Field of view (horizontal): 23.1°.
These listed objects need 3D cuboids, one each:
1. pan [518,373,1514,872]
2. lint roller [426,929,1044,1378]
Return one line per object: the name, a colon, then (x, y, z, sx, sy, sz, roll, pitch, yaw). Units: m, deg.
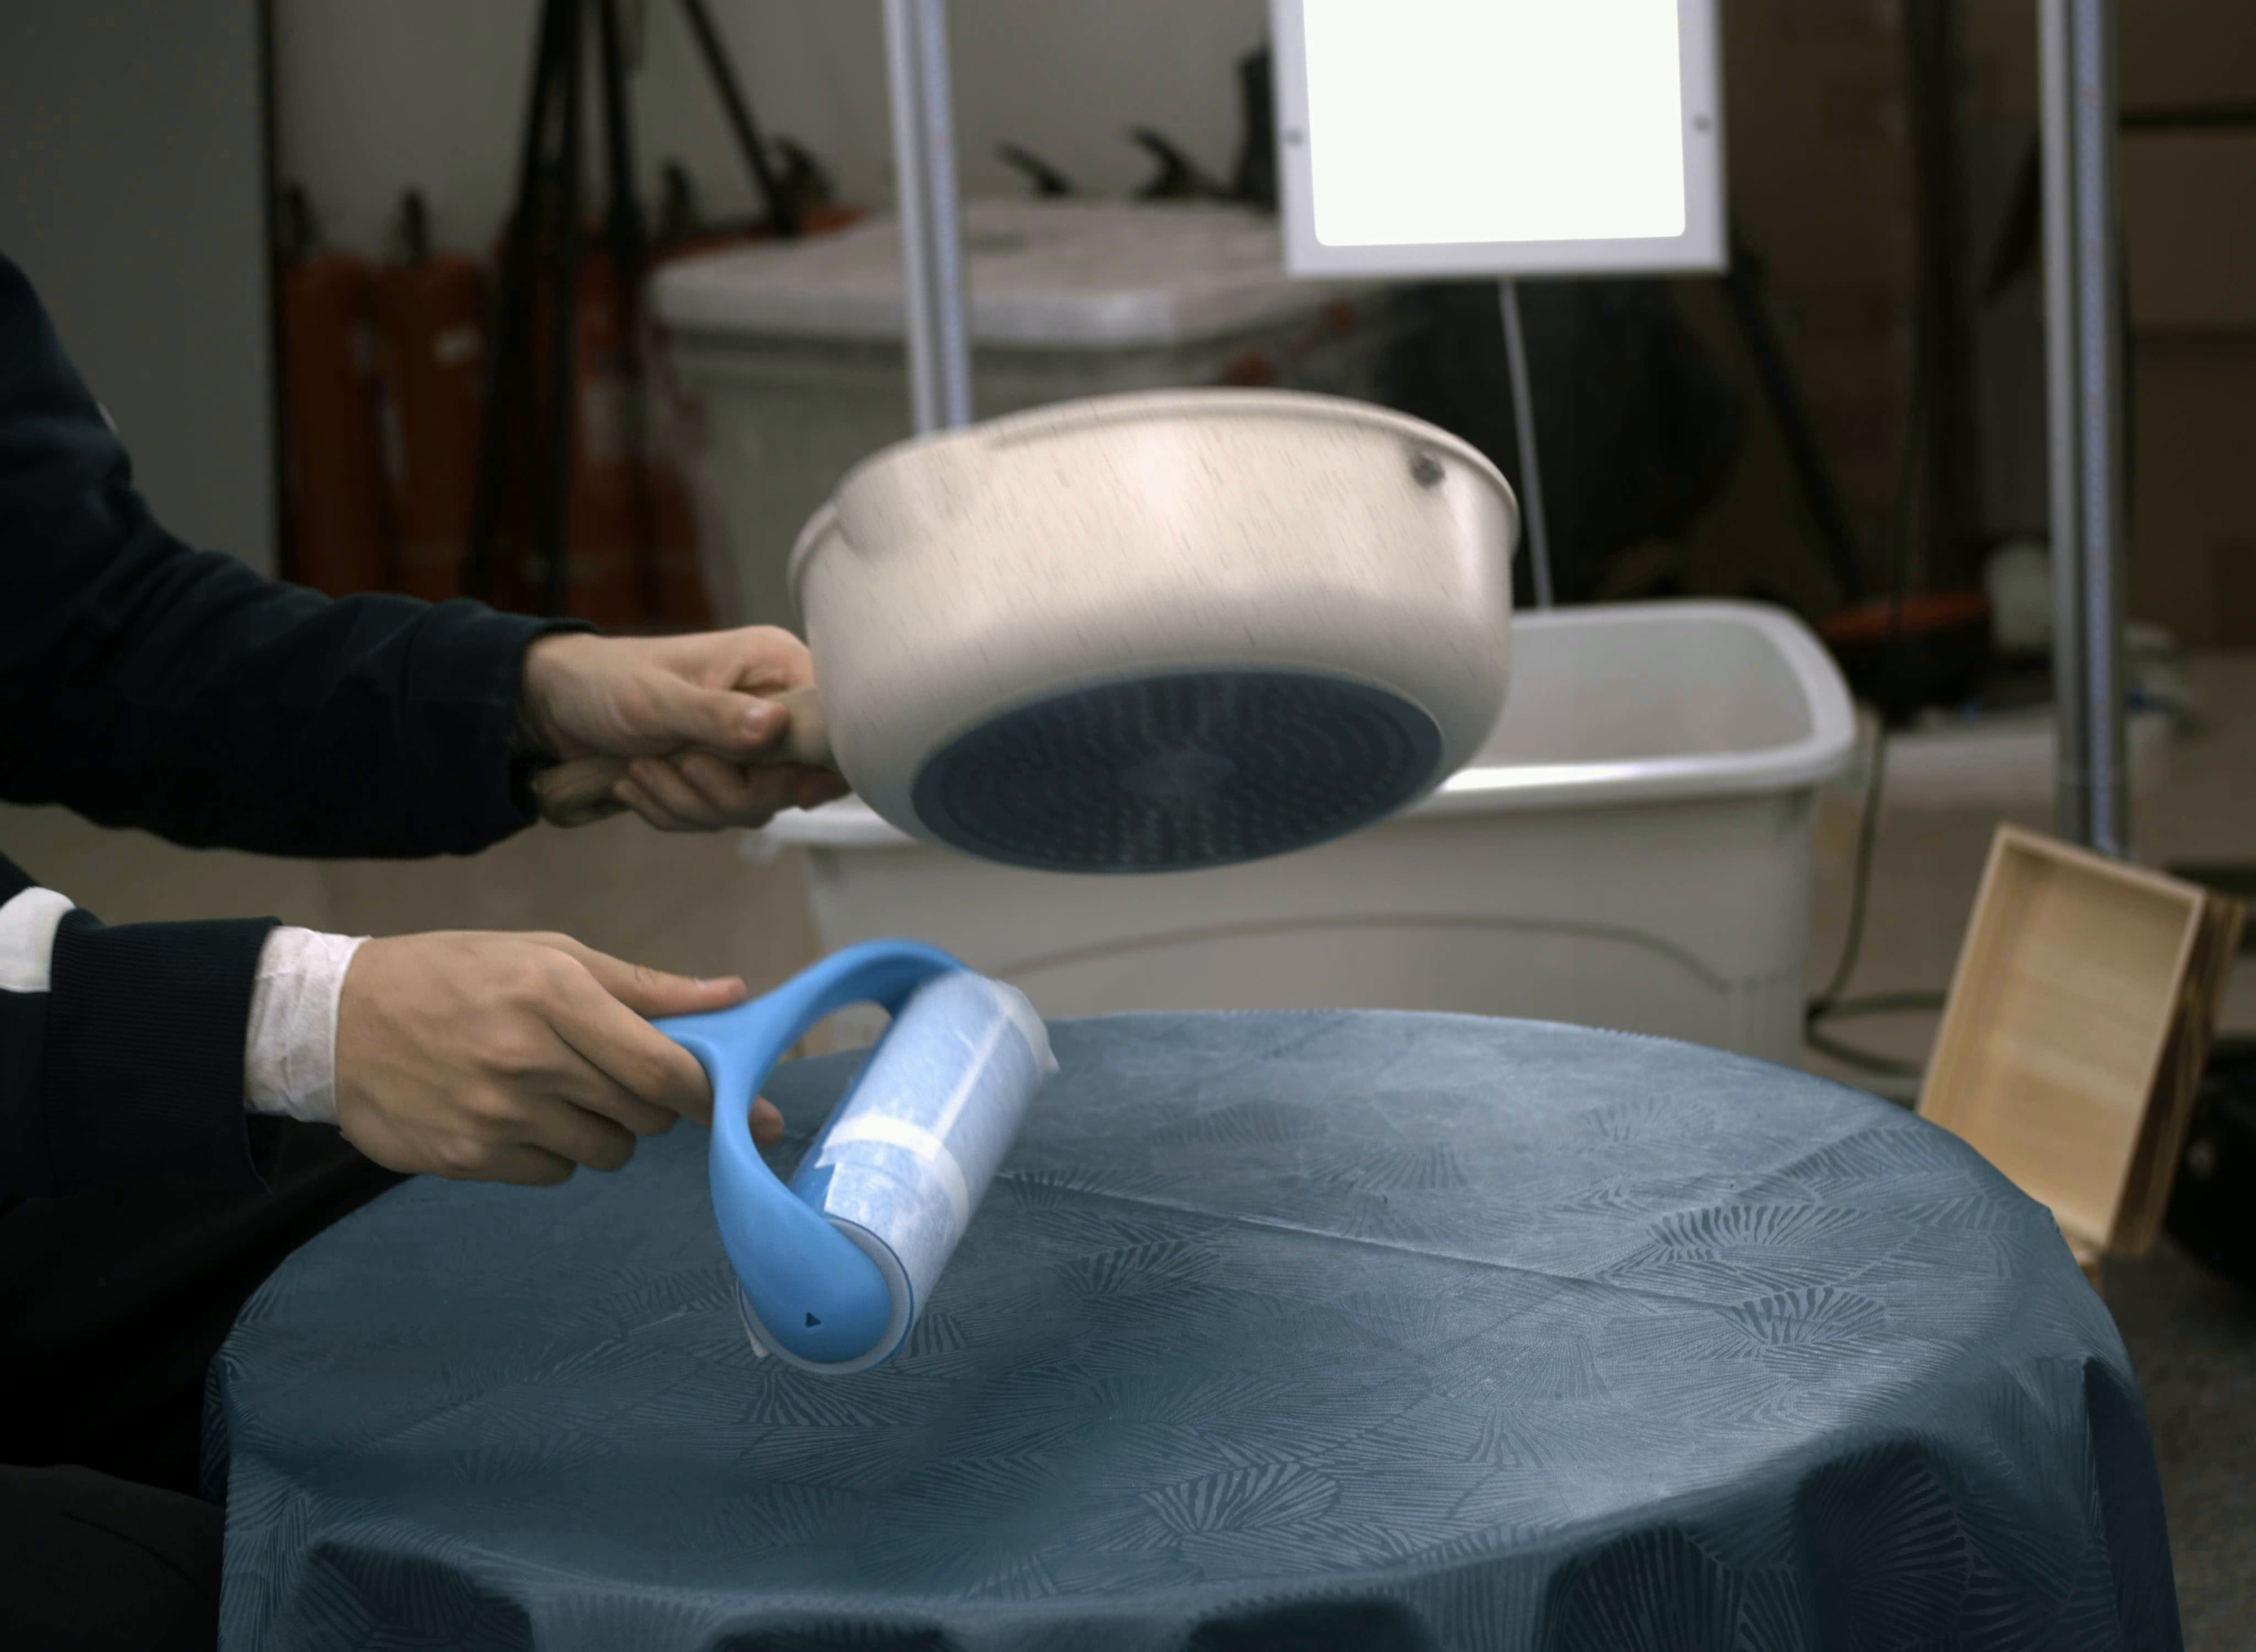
pan: (-0.056, -0.036, 1.926, 0.444, 0.102, 0.257, -24, -28, 38)
lint roller: (-0.127, 0.089, 1.700, 0.180, 0.068, 0.226, 11, 25, 5)
